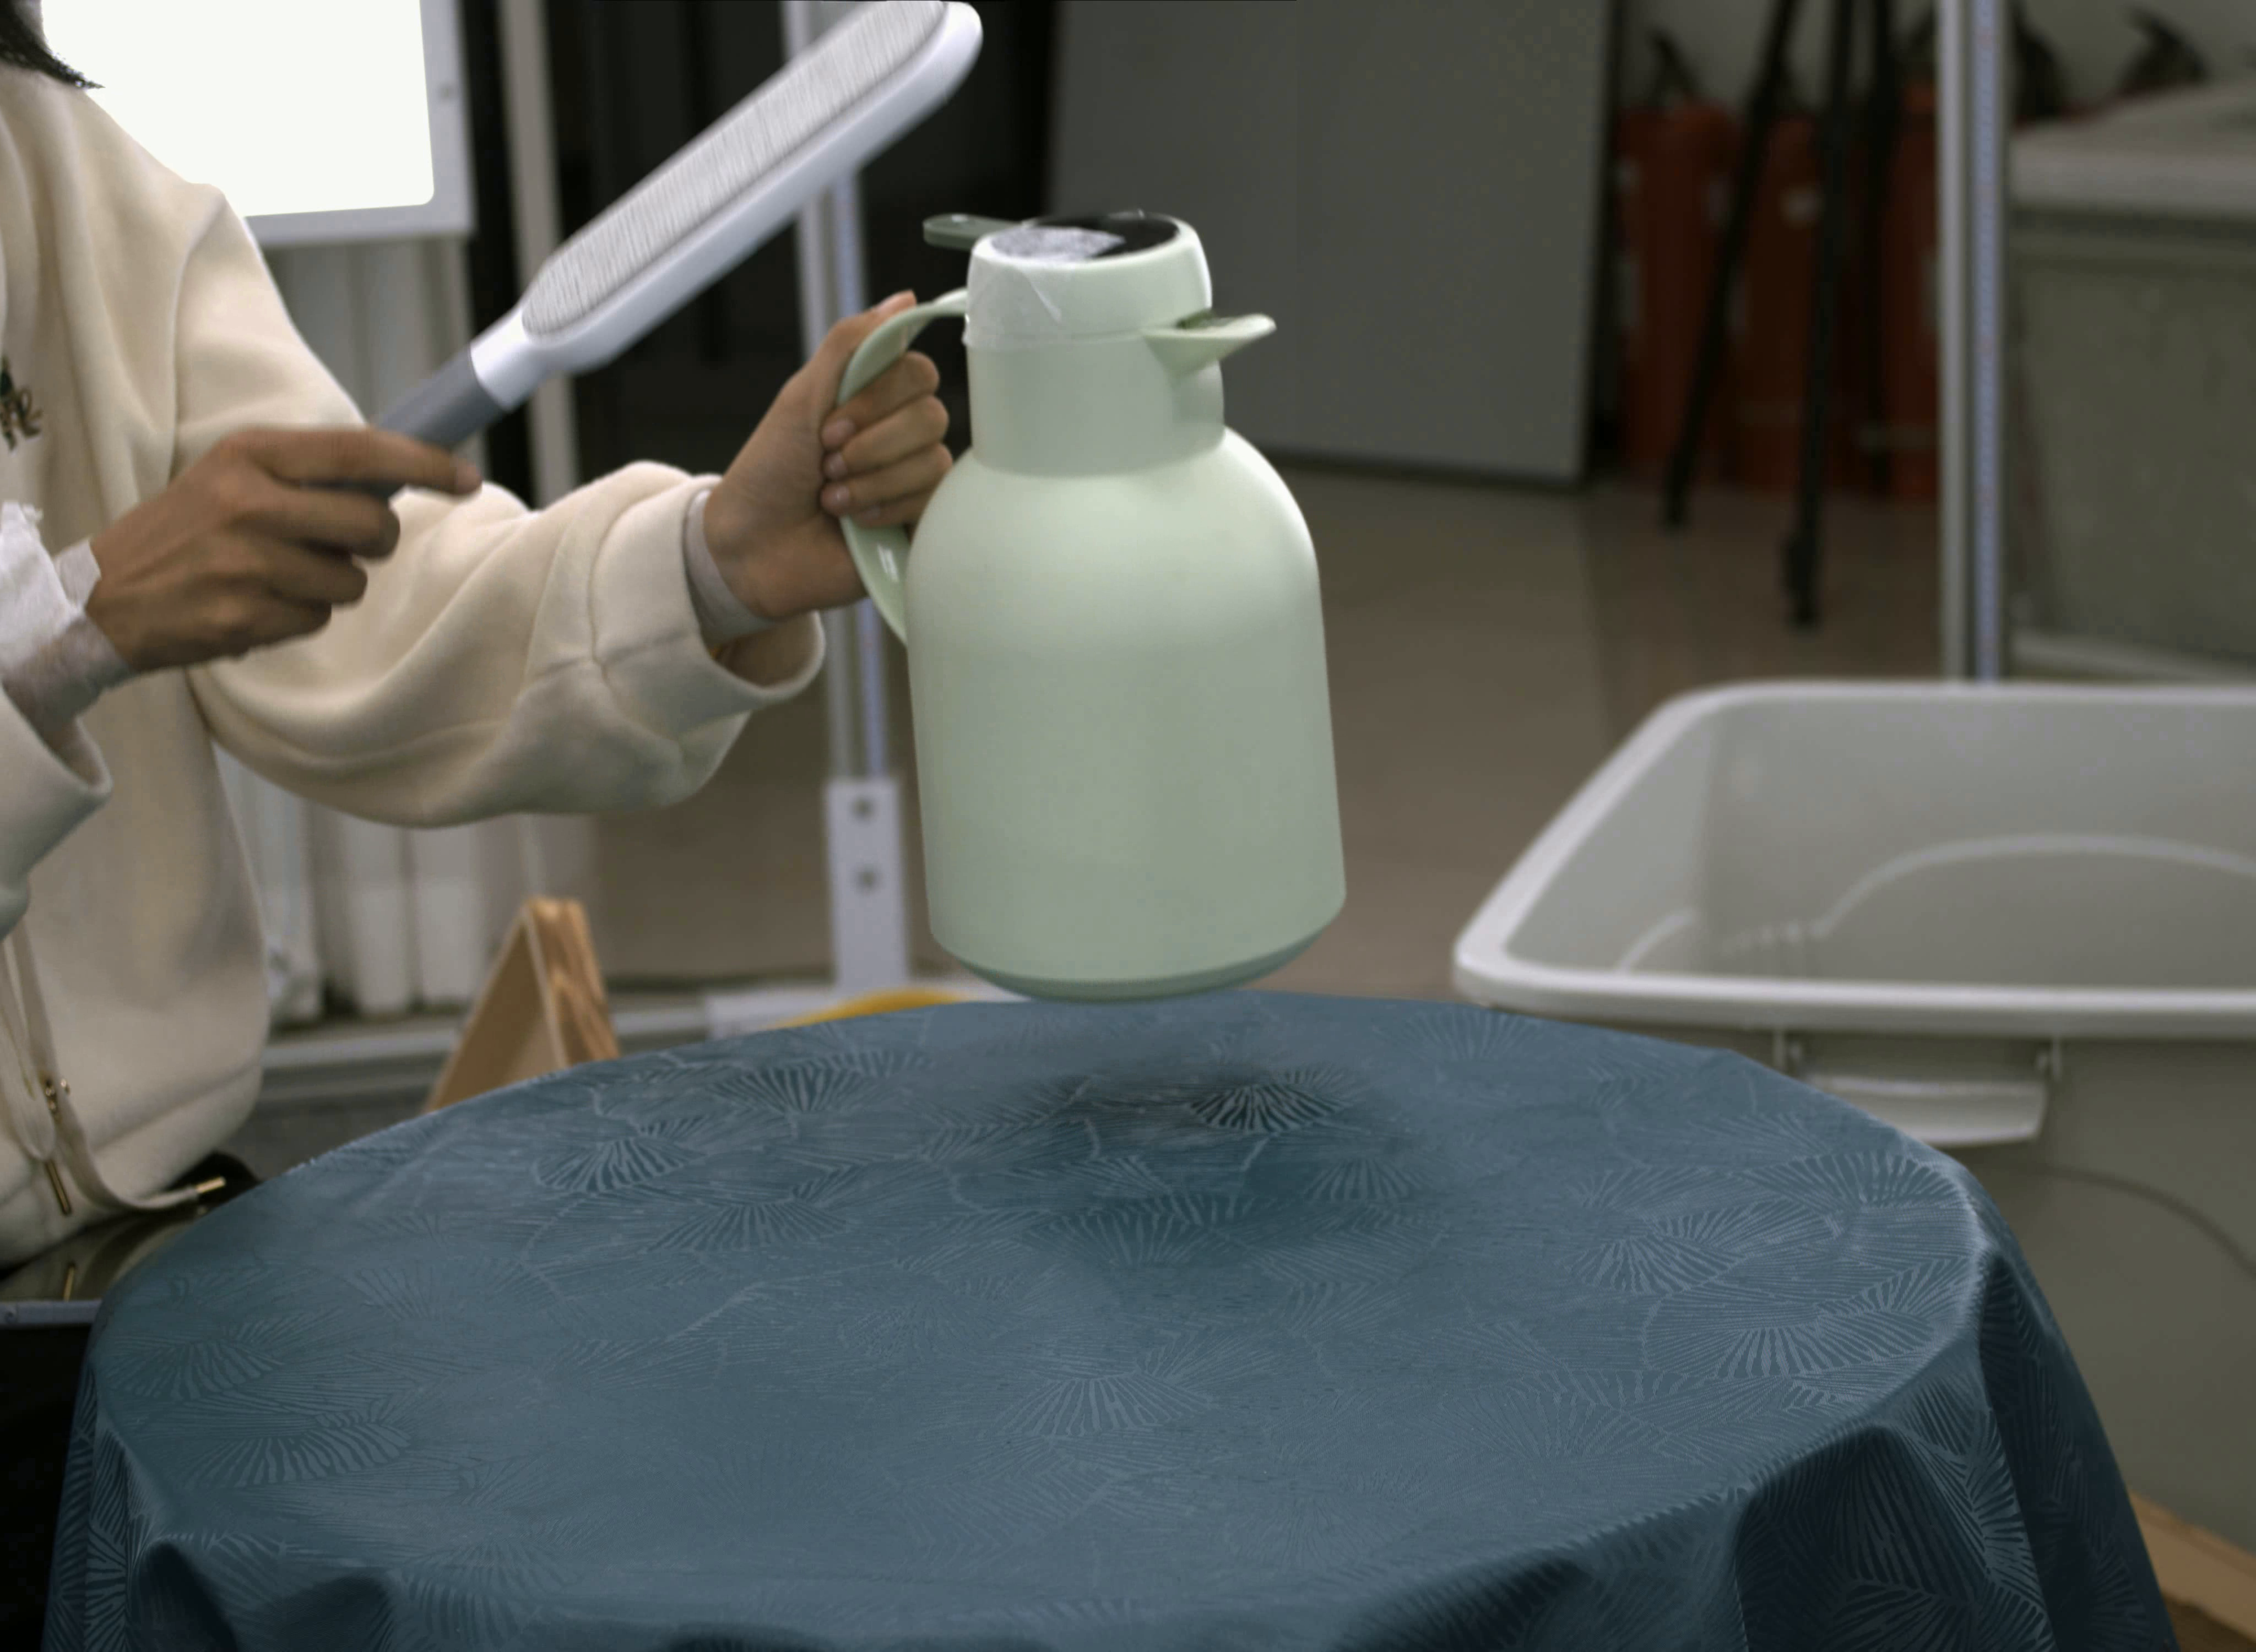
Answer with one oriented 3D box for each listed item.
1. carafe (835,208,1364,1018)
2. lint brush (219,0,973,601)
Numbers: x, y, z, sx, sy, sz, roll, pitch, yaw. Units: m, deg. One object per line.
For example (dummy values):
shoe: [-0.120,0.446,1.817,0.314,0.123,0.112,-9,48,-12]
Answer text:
carafe: [-0.014,-0.077,1.827,0.188,0.259,0.142,5,22,39]
lint brush: [-0.170,-0.169,1.710,0.309,0.020,0.060,-37,35,14]
